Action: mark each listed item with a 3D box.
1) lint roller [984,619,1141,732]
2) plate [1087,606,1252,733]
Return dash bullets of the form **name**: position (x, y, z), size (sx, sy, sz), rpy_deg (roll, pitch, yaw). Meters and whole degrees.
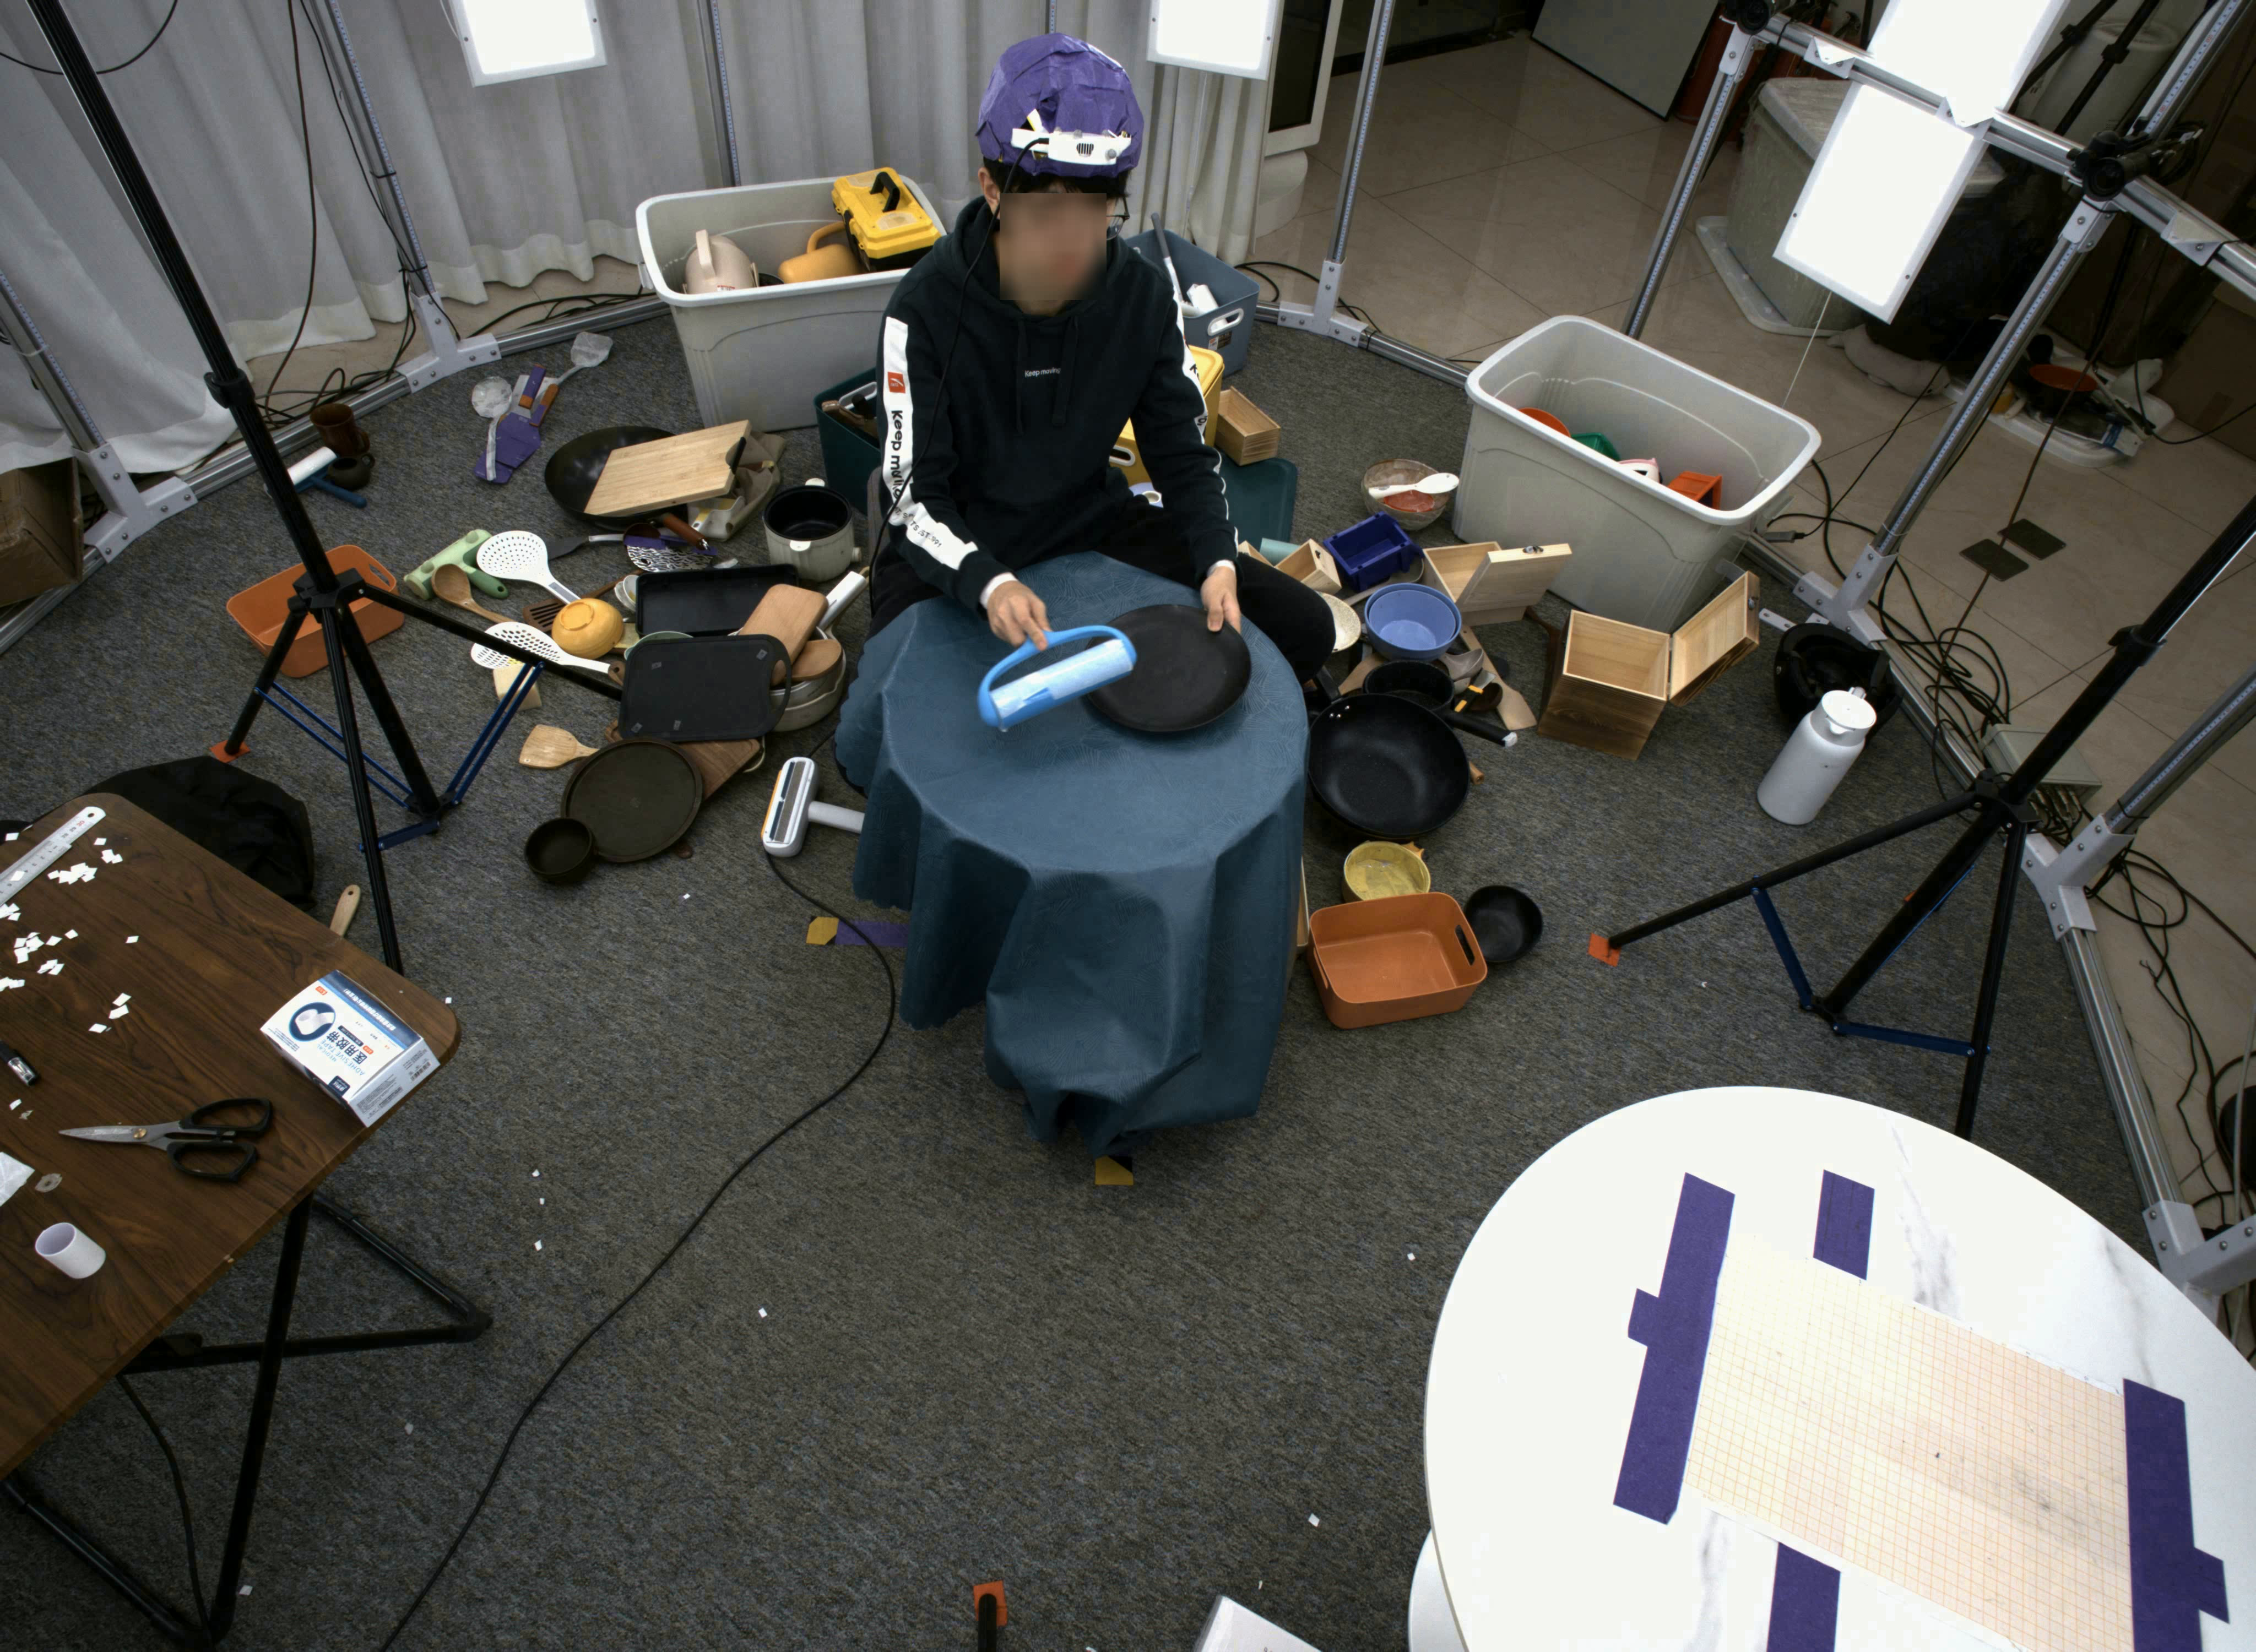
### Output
- **lint roller**: position (-0.116, -0.233, 1.752), size (0.229, 0.066, 0.184), rpy_deg (-28, 60, -14)
- **plate**: position (0.055, -0.222, 1.834), size (0.244, 0.023, 0.250), rpy_deg (-2, 53, 3)
